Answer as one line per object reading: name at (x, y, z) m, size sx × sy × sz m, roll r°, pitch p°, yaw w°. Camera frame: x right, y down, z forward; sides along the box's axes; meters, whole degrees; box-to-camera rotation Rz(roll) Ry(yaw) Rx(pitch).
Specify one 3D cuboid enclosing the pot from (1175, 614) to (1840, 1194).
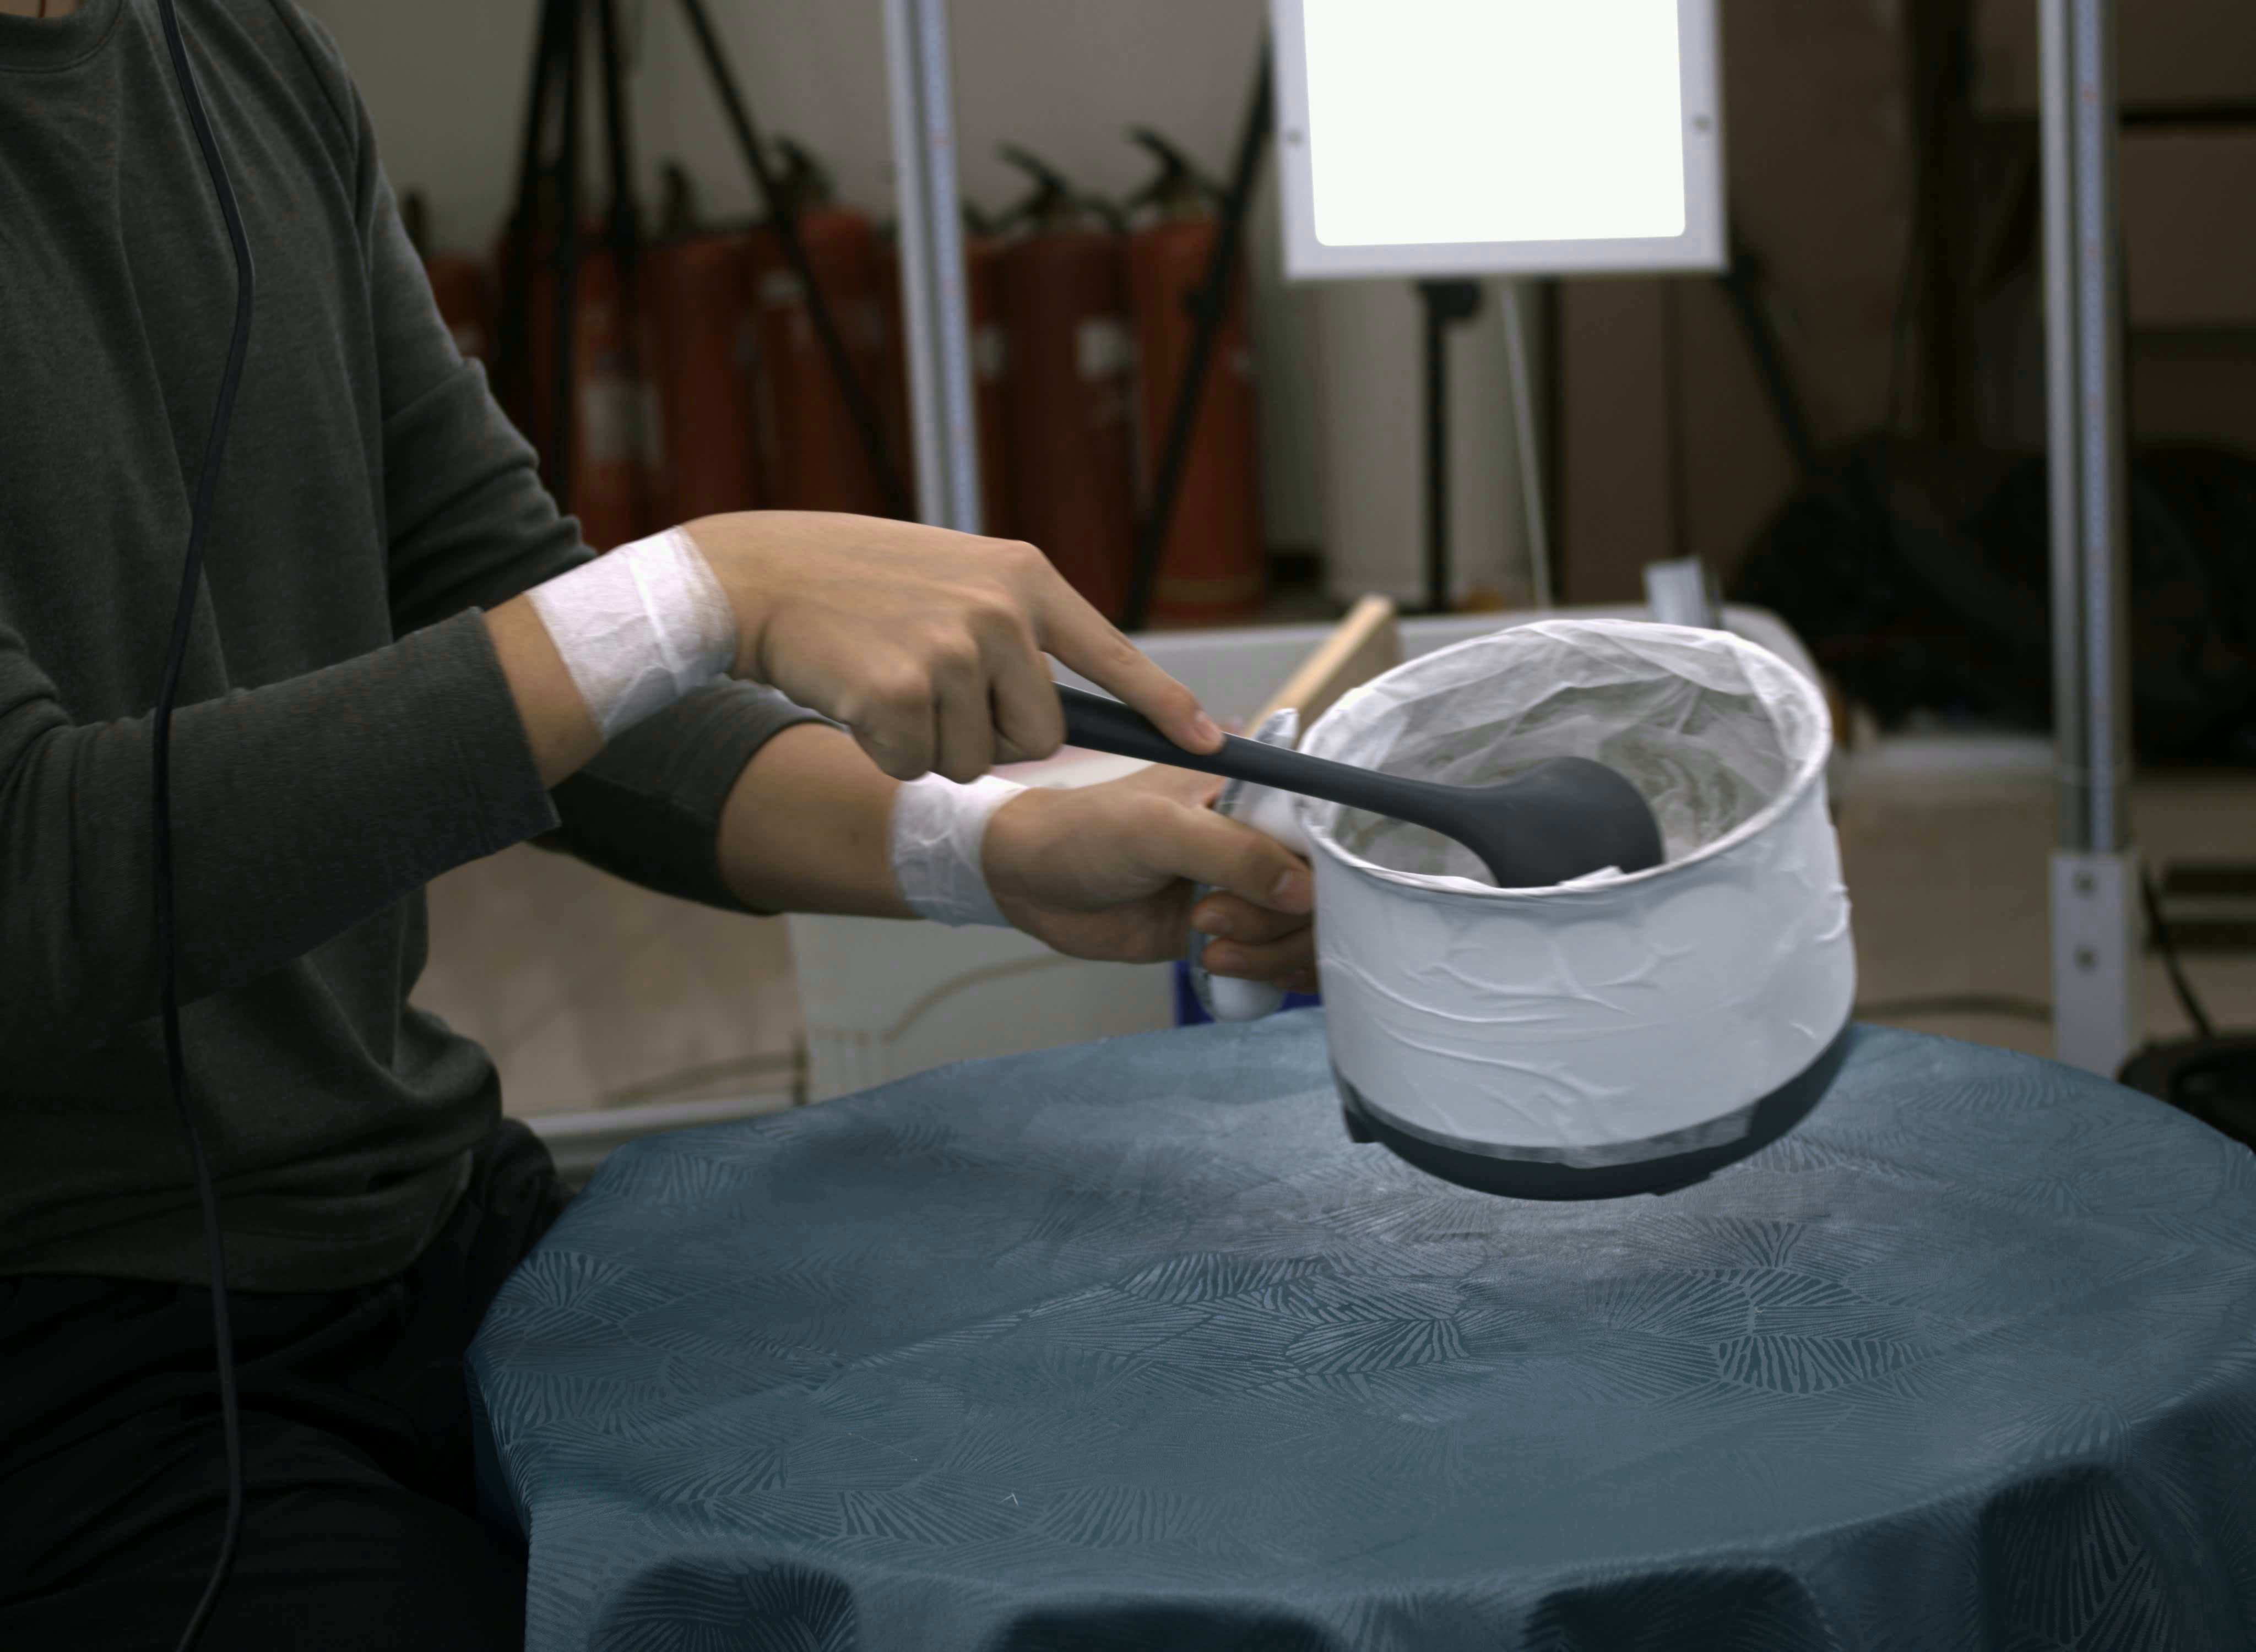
pot at (0.120, 0.025, 1.824) m, size 0.237 × 0.137 × 0.175 m, roll 6°, pitch 32°, yaw 27°

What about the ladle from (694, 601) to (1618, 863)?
ladle at (0.009, -0.021, 1.806) m, size 0.313 × 0.064 × 0.085 m, roll 13°, pitch 60°, yaw 2°
